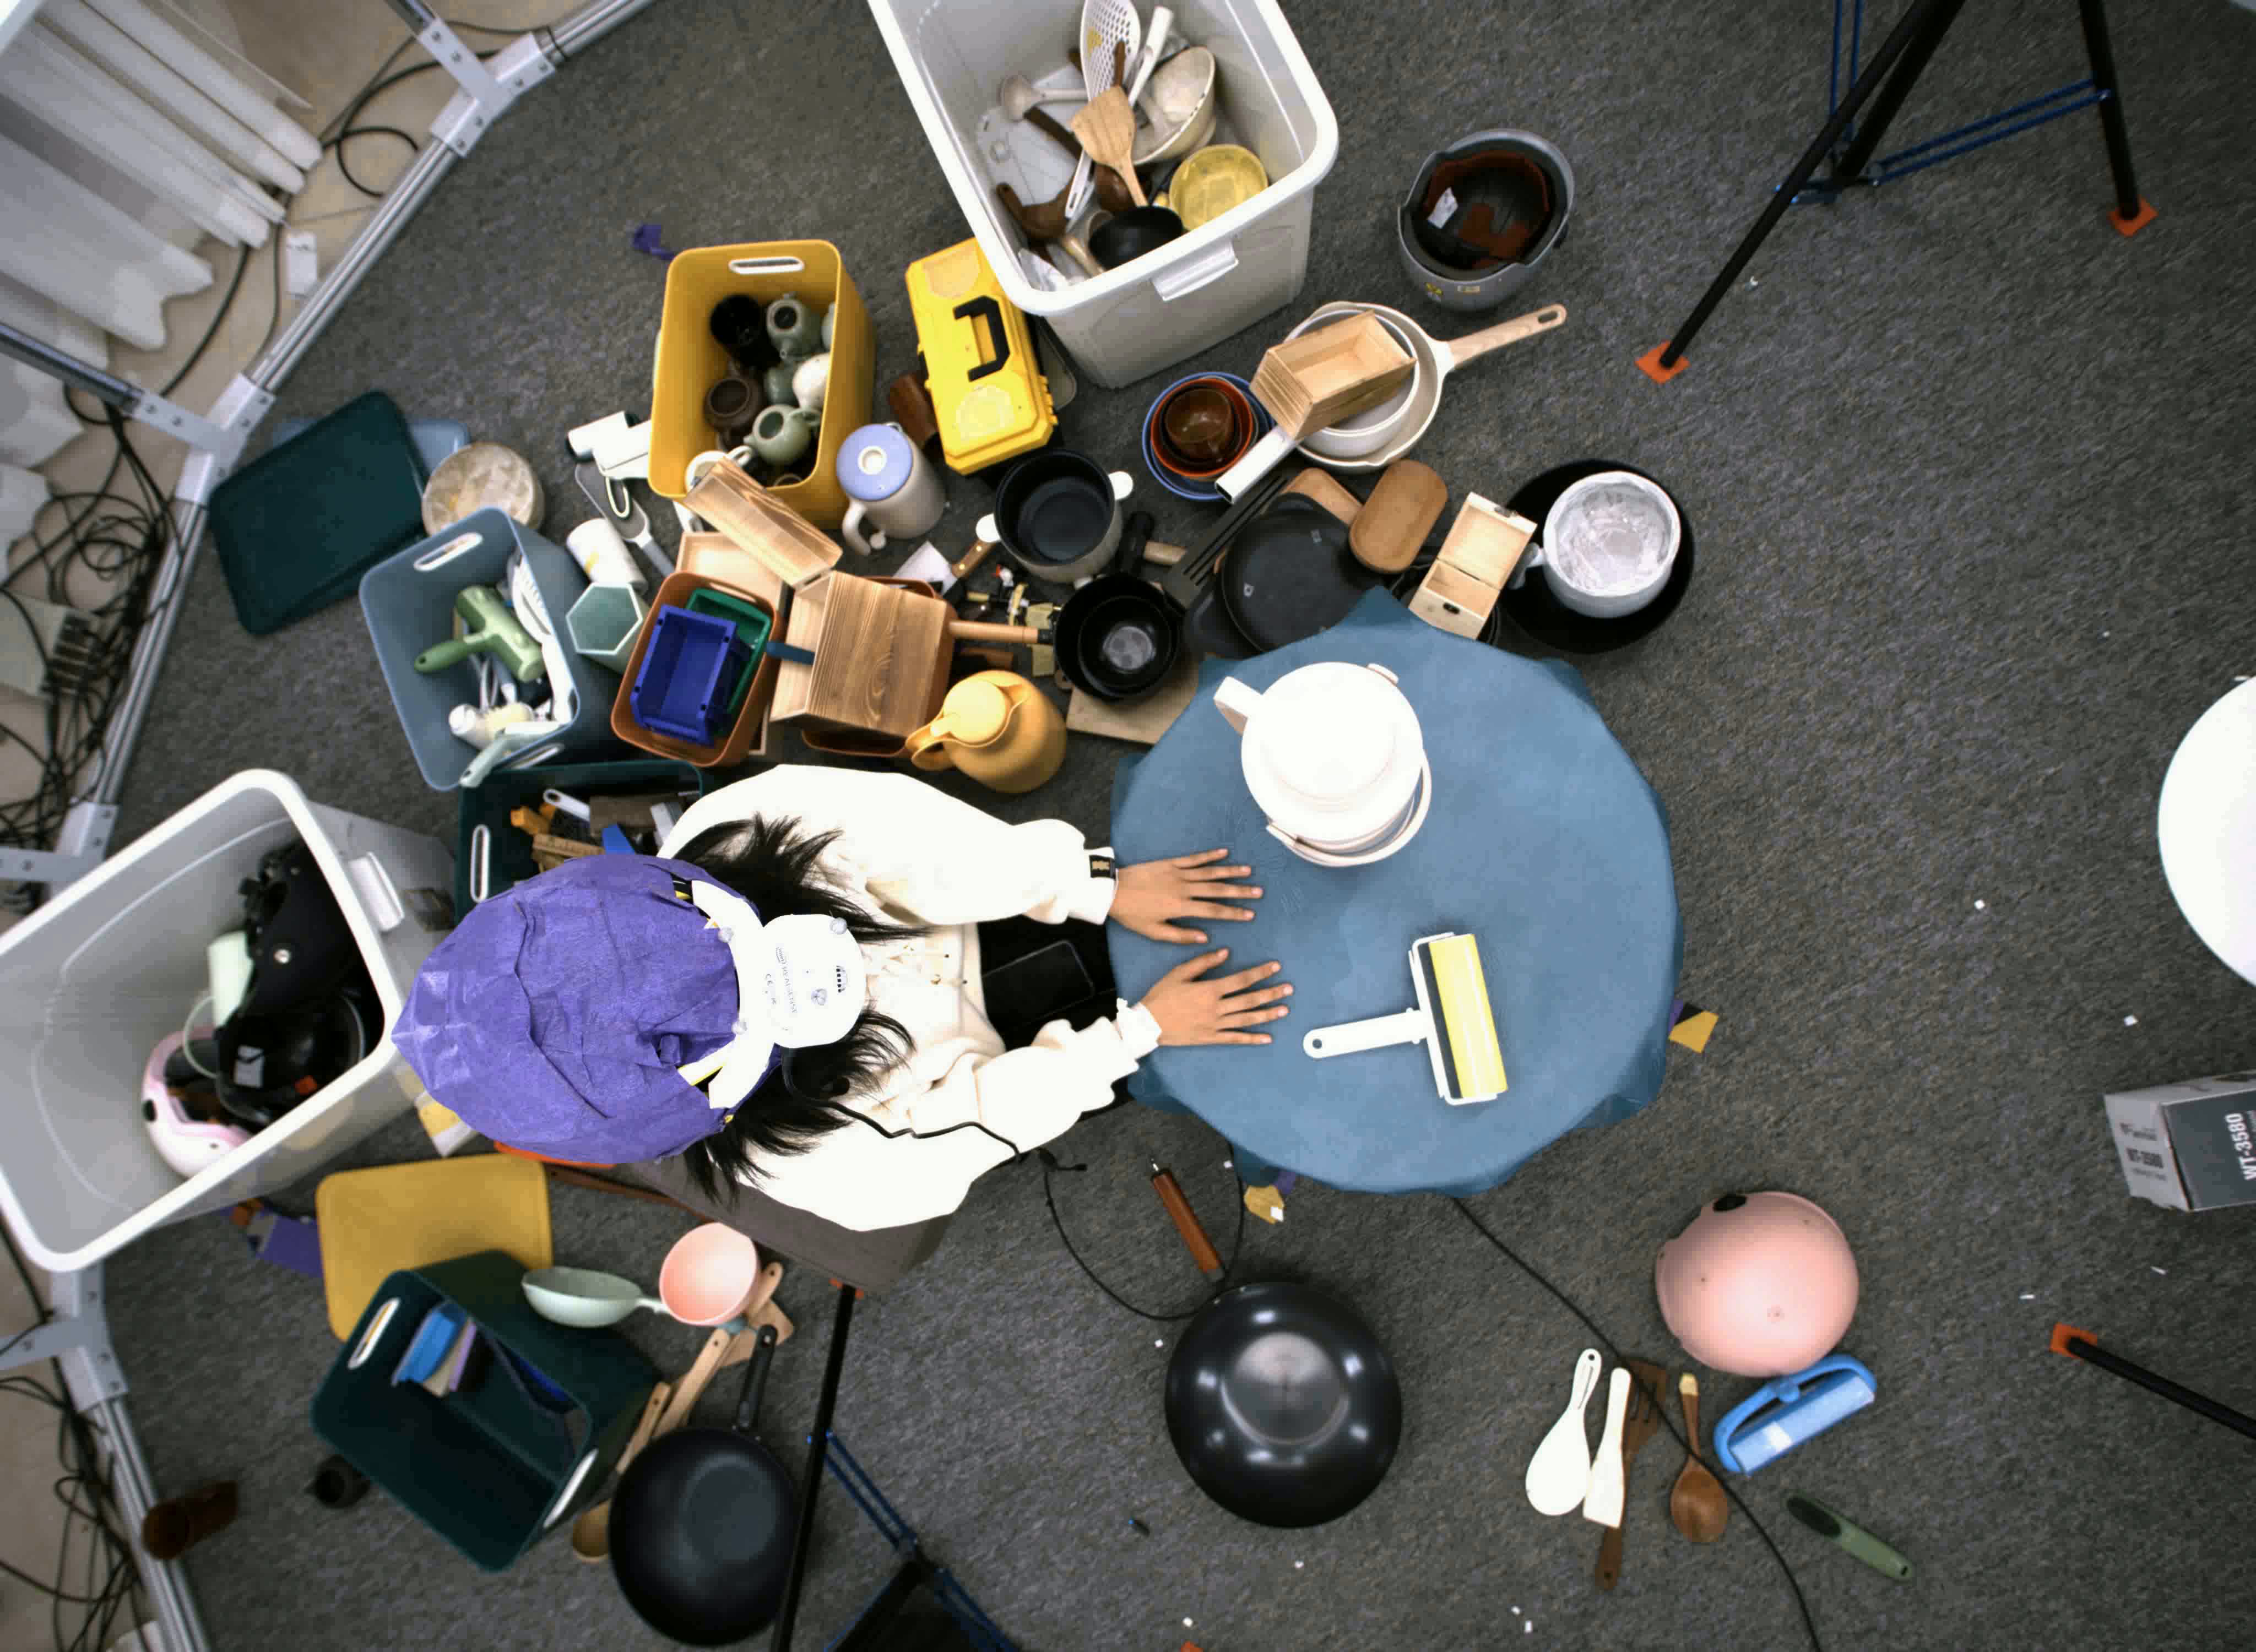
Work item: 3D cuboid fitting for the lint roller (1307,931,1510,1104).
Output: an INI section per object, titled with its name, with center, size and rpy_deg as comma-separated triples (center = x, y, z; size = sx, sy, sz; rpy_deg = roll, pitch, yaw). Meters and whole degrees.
[lint roller]
center = 0.280, 0.209, 1.423
size = 0.192, 0.051, 0.173
rpy_deg = -13, 84, 3

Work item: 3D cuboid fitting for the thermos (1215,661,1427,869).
[thermos]
center = 0.181, -0.064, 1.283
size = 0.206, 0.407, 0.175
rpy_deg = 32, 91, 12
